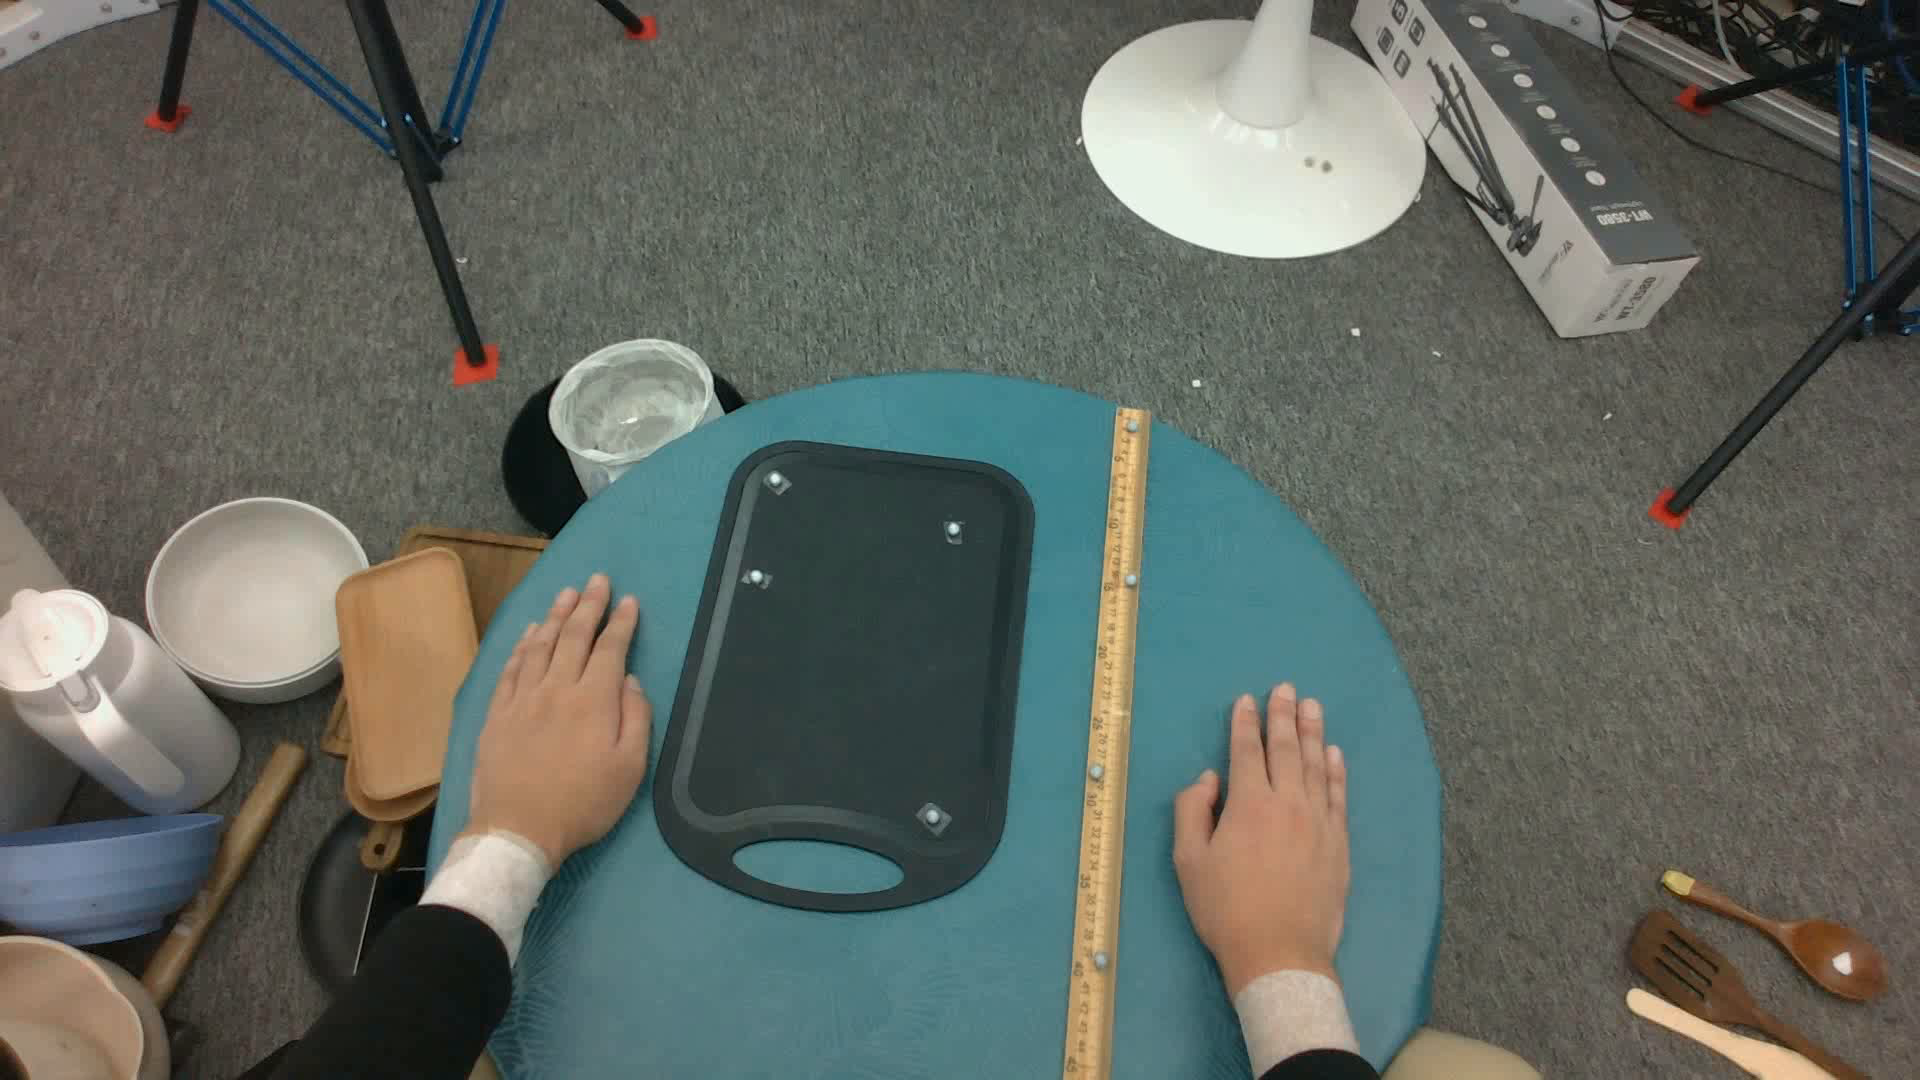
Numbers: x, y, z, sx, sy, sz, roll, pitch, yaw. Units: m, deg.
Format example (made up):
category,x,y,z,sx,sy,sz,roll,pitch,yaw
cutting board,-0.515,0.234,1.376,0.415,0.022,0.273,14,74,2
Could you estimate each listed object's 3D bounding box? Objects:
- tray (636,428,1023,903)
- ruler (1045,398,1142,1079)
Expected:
category,x,y,z,sx,sy,sz,roll,pitch,yaw
tray,-0.074,0.066,0.862,0.211,0.010,0.327,8,57,1
ruler,0.085,0.109,0.848,0.027,0.006,0.502,7,57,3
